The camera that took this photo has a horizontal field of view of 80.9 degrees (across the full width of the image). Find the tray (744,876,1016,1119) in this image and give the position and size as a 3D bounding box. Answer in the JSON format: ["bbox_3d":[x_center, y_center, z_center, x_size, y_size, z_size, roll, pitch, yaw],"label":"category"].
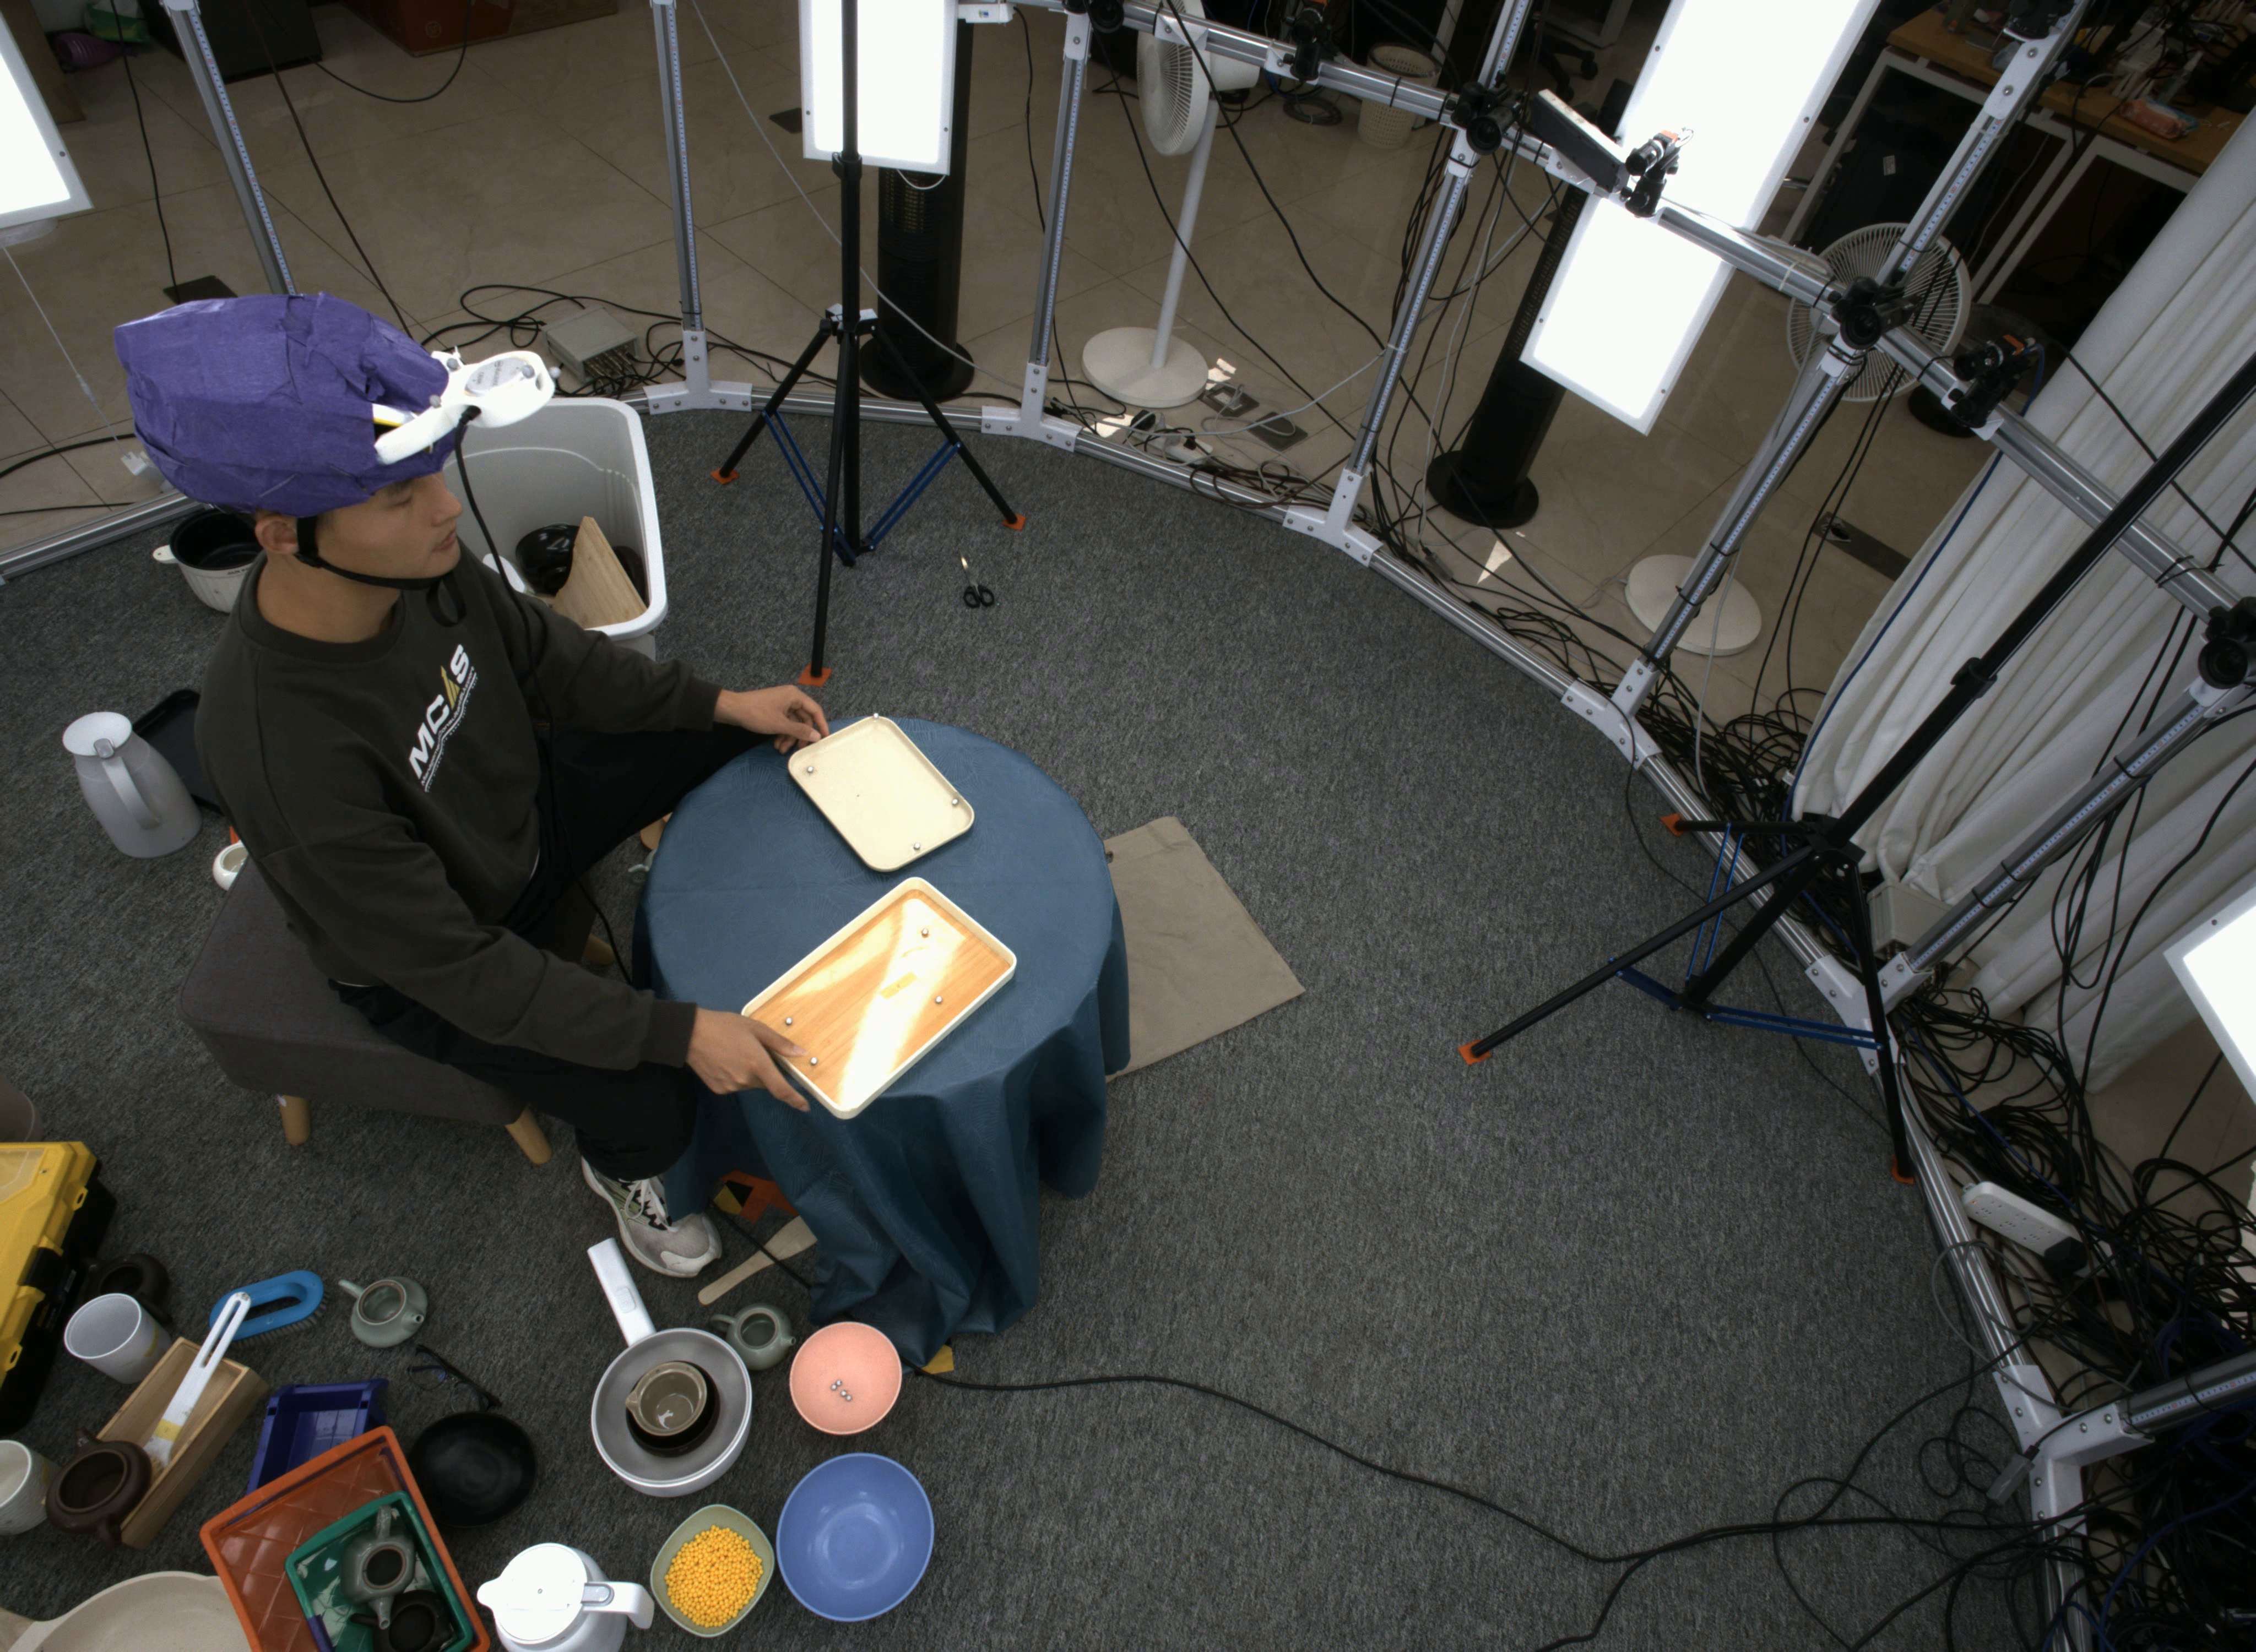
[{"bbox_3d":[-0.300,0.200,1.598,0.187,0.028,0.300,38,55,15],"label":"tray"}]

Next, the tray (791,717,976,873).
[{"bbox_3d":[-0.335,-0.045,1.779,0.172,0.018,0.234,-32,66,-30],"label":"tray"}]
